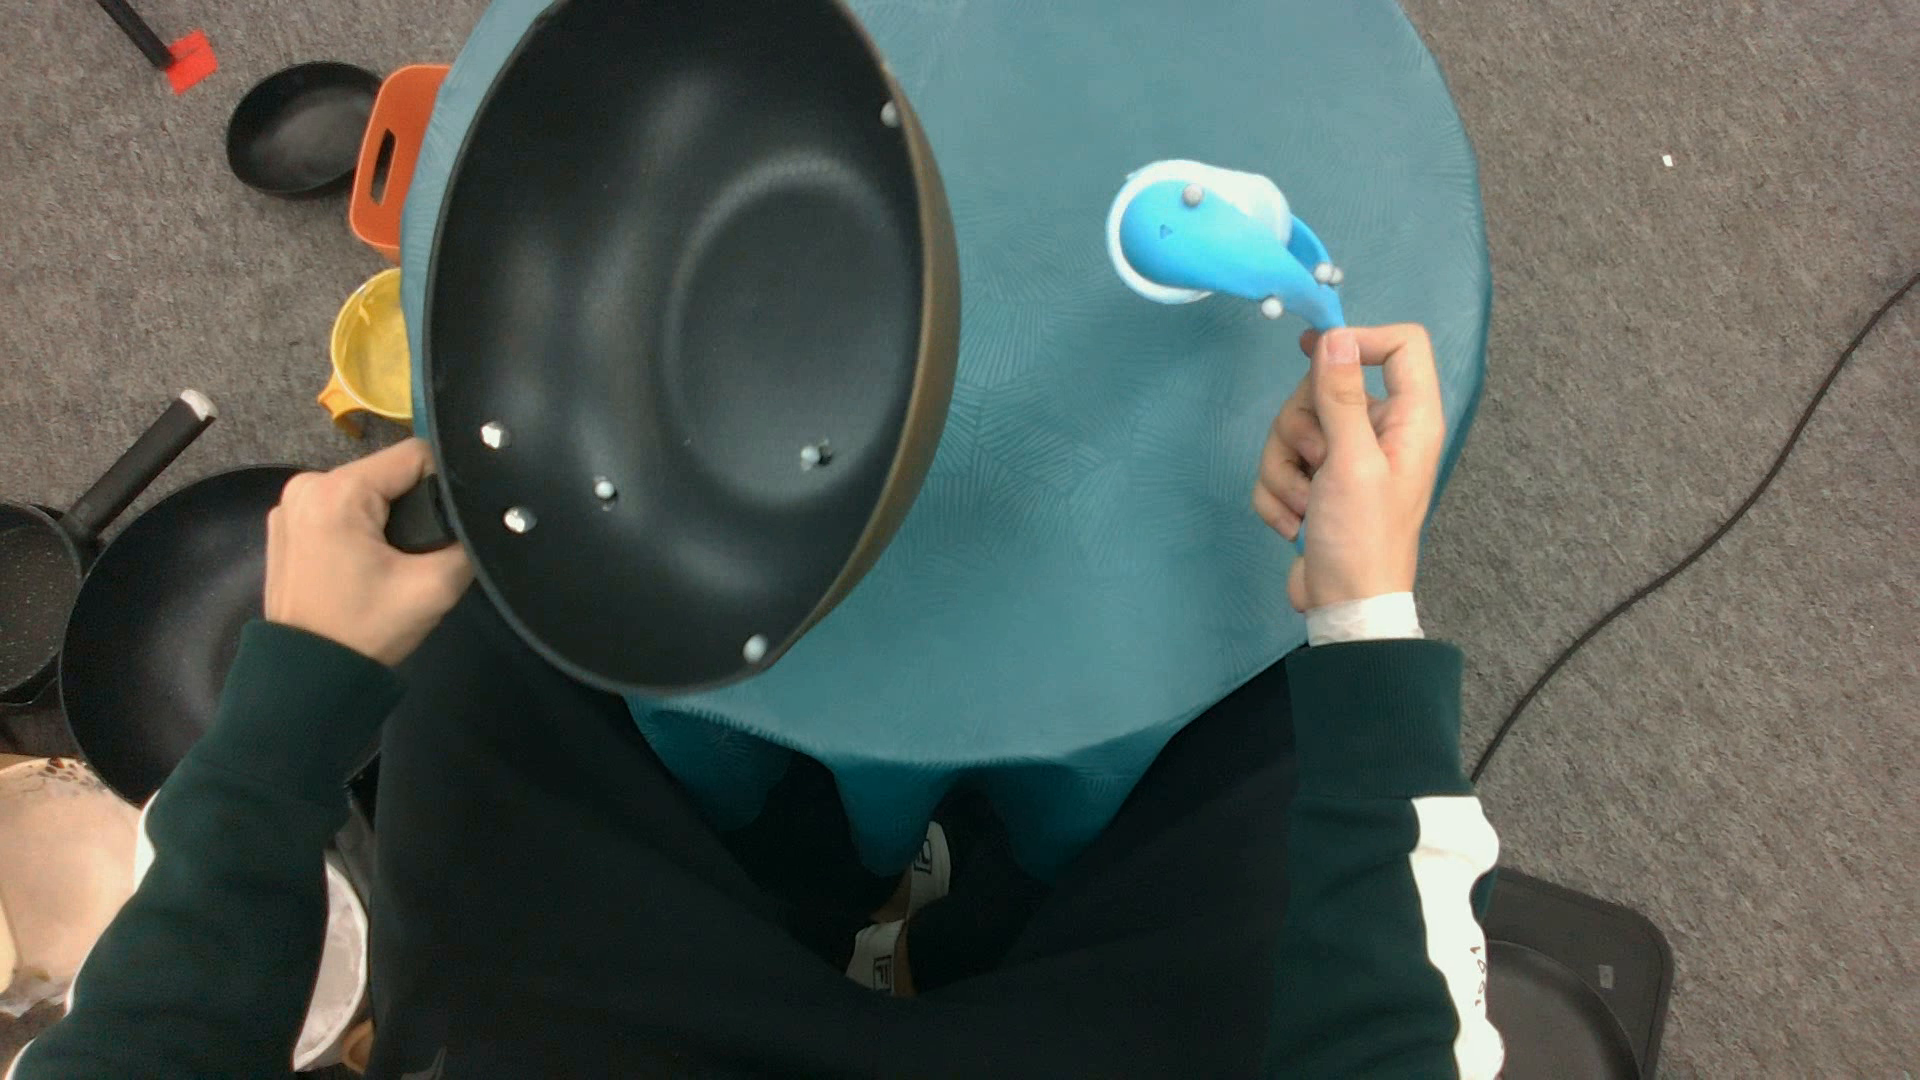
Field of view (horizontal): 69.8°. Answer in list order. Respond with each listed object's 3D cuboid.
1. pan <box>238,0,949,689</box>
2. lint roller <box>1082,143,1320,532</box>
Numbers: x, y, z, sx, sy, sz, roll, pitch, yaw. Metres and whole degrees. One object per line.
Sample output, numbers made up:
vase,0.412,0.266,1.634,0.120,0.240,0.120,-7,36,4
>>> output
pan,-0.172,-0.044,0.601,0.461,0.087,0.288,-32,72,31
lint roller,0.128,-0.095,0.616,0.068,0.230,0.180,-27,98,19
